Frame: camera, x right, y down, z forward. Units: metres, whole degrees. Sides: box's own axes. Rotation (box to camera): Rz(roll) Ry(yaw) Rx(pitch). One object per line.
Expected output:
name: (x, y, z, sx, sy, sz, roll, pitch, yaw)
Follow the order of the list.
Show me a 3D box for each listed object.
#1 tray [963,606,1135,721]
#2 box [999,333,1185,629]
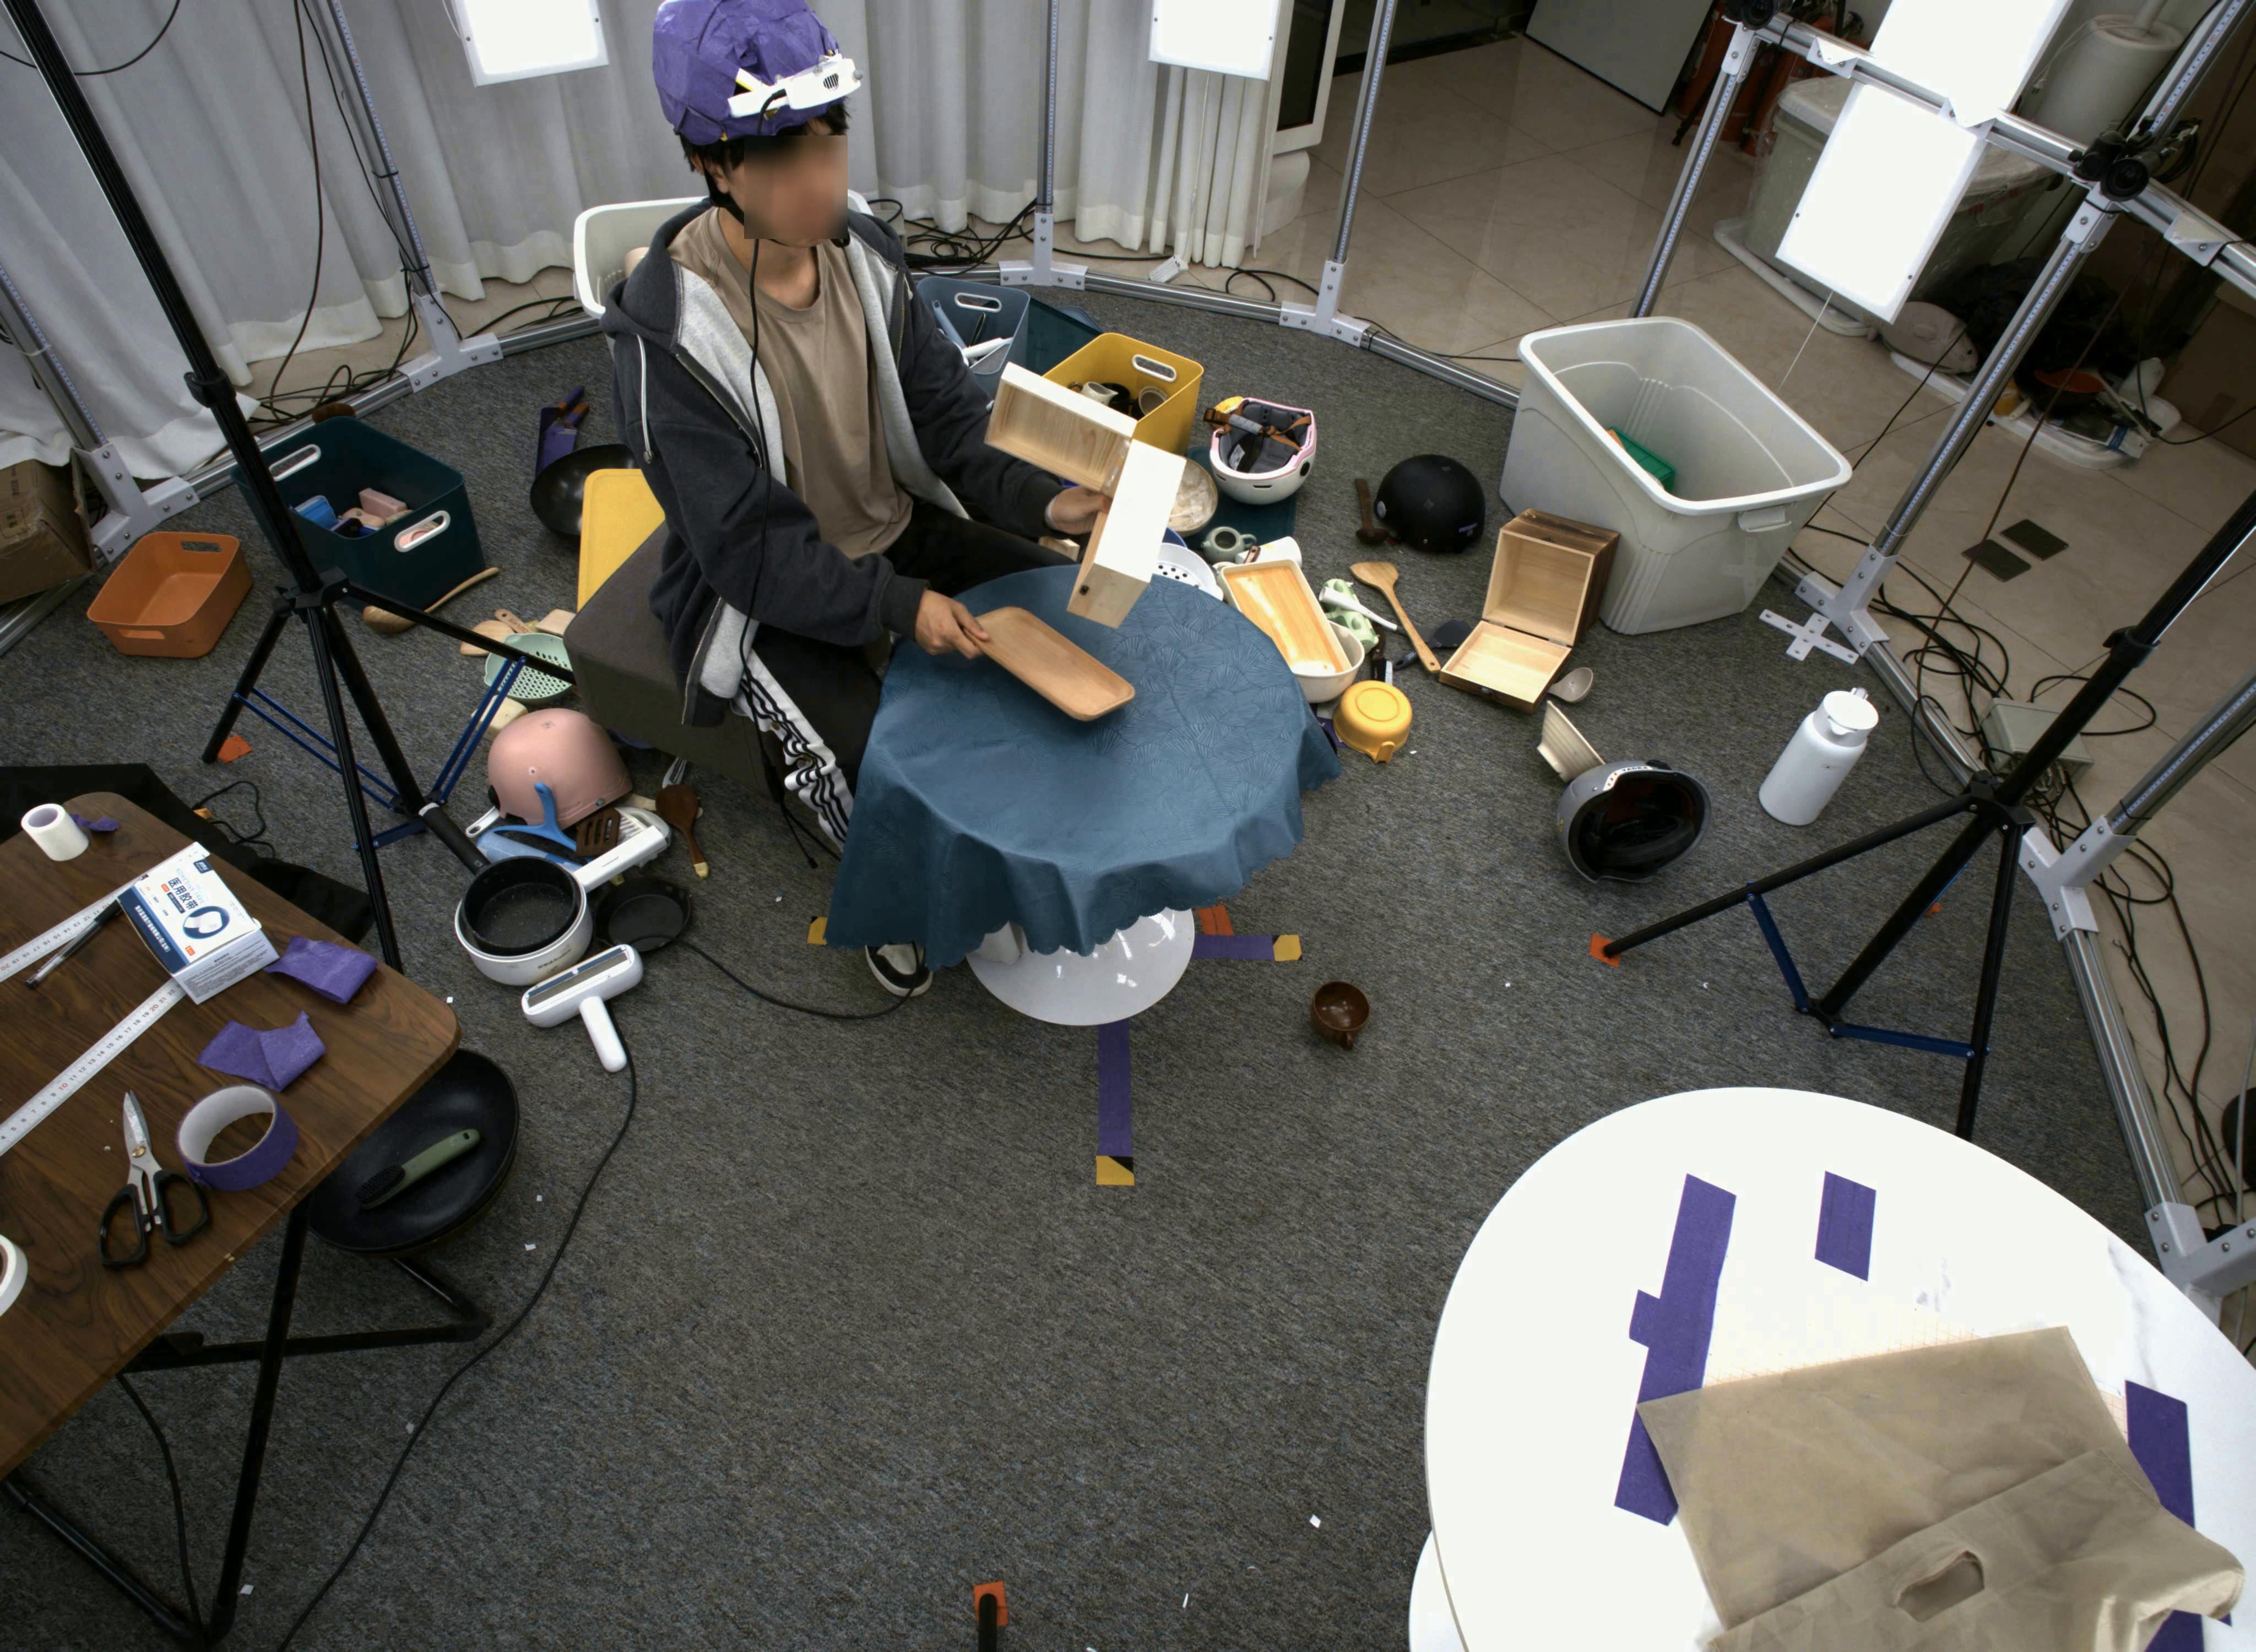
tray: (-0.112, -0.230, 1.800, 0.254, 0.022, 0.131, 37, 38, 24)
box: (-0.075, -0.442, 1.702, 0.252, 0.180, 0.268, 19, 73, -5)
